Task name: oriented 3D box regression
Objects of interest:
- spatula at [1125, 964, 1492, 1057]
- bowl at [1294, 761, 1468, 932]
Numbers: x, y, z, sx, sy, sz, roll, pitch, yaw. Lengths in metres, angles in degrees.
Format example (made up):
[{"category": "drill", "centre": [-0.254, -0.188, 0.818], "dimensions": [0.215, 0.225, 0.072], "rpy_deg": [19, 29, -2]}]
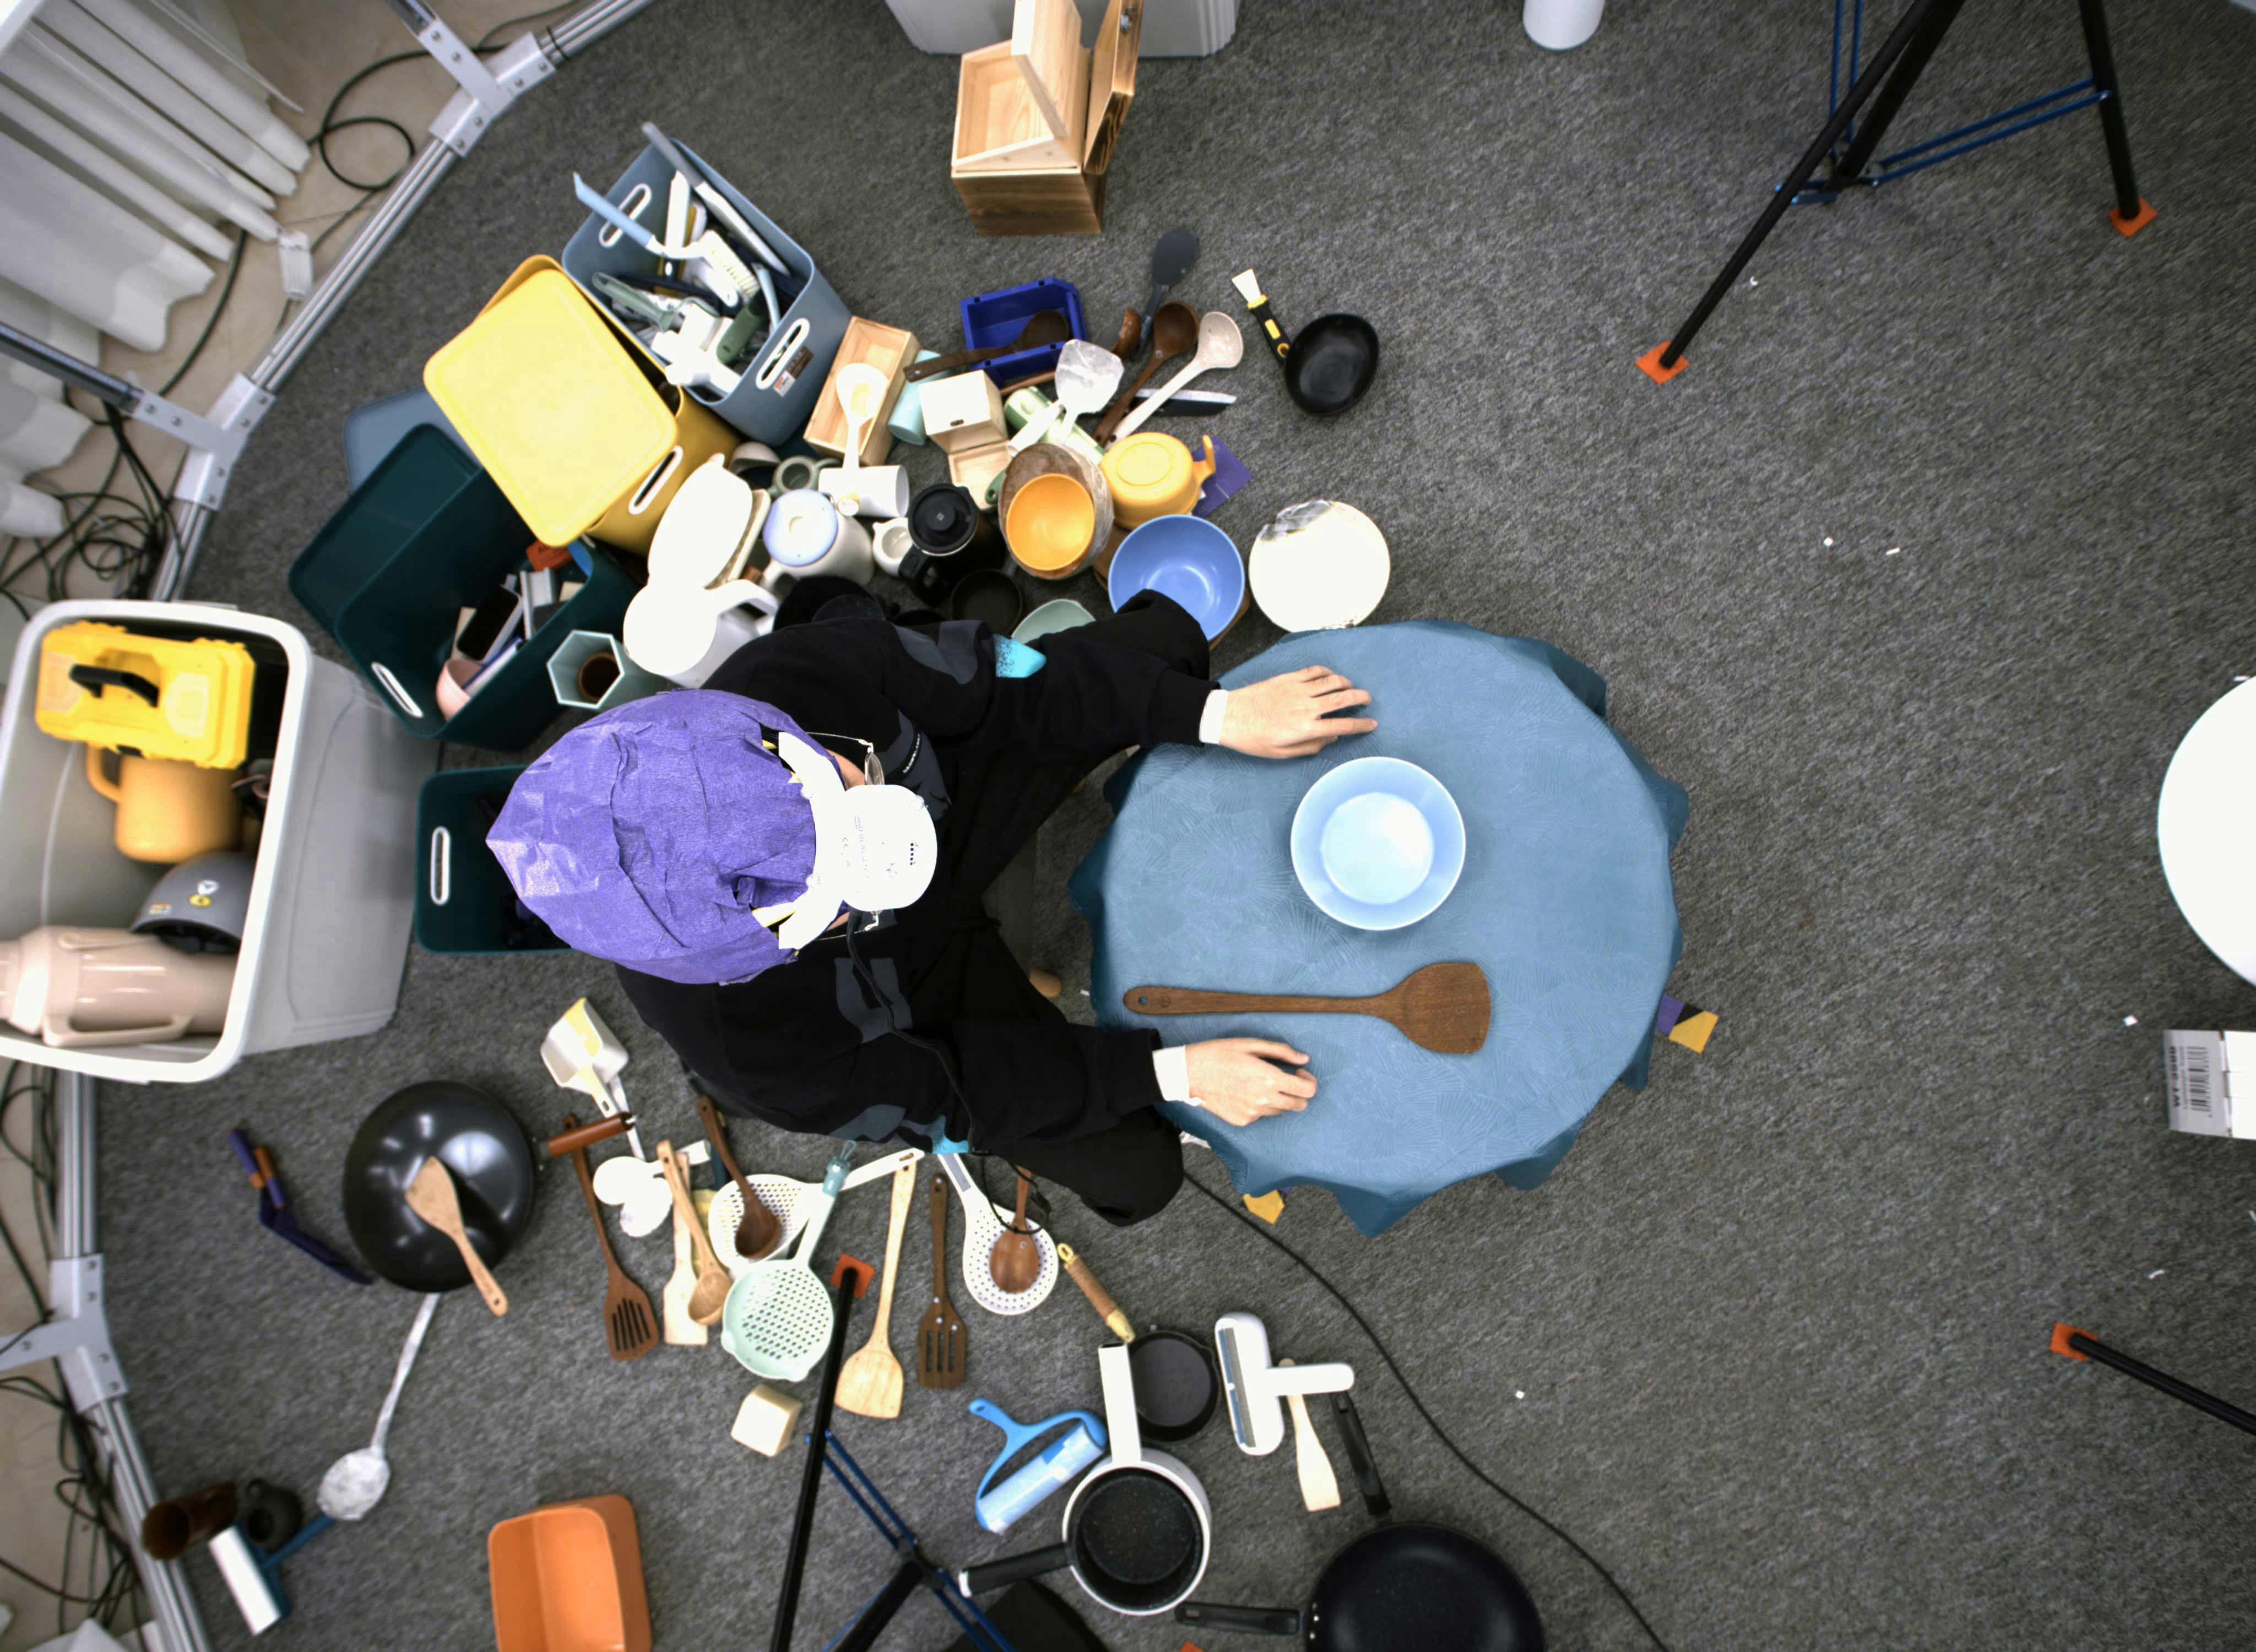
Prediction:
[{"category": "spatula", "centre": [0.187, 0.191, 1.465], "dimensions": [0.387, 0.016, 0.095], "rpy_deg": [0, 85, 10]}, {"category": "bowl", "centre": [0.263, 0.023, 1.434], "dimensions": [0.177, 0.070, 0.175], "rpy_deg": [-1, 85, 12]}]
